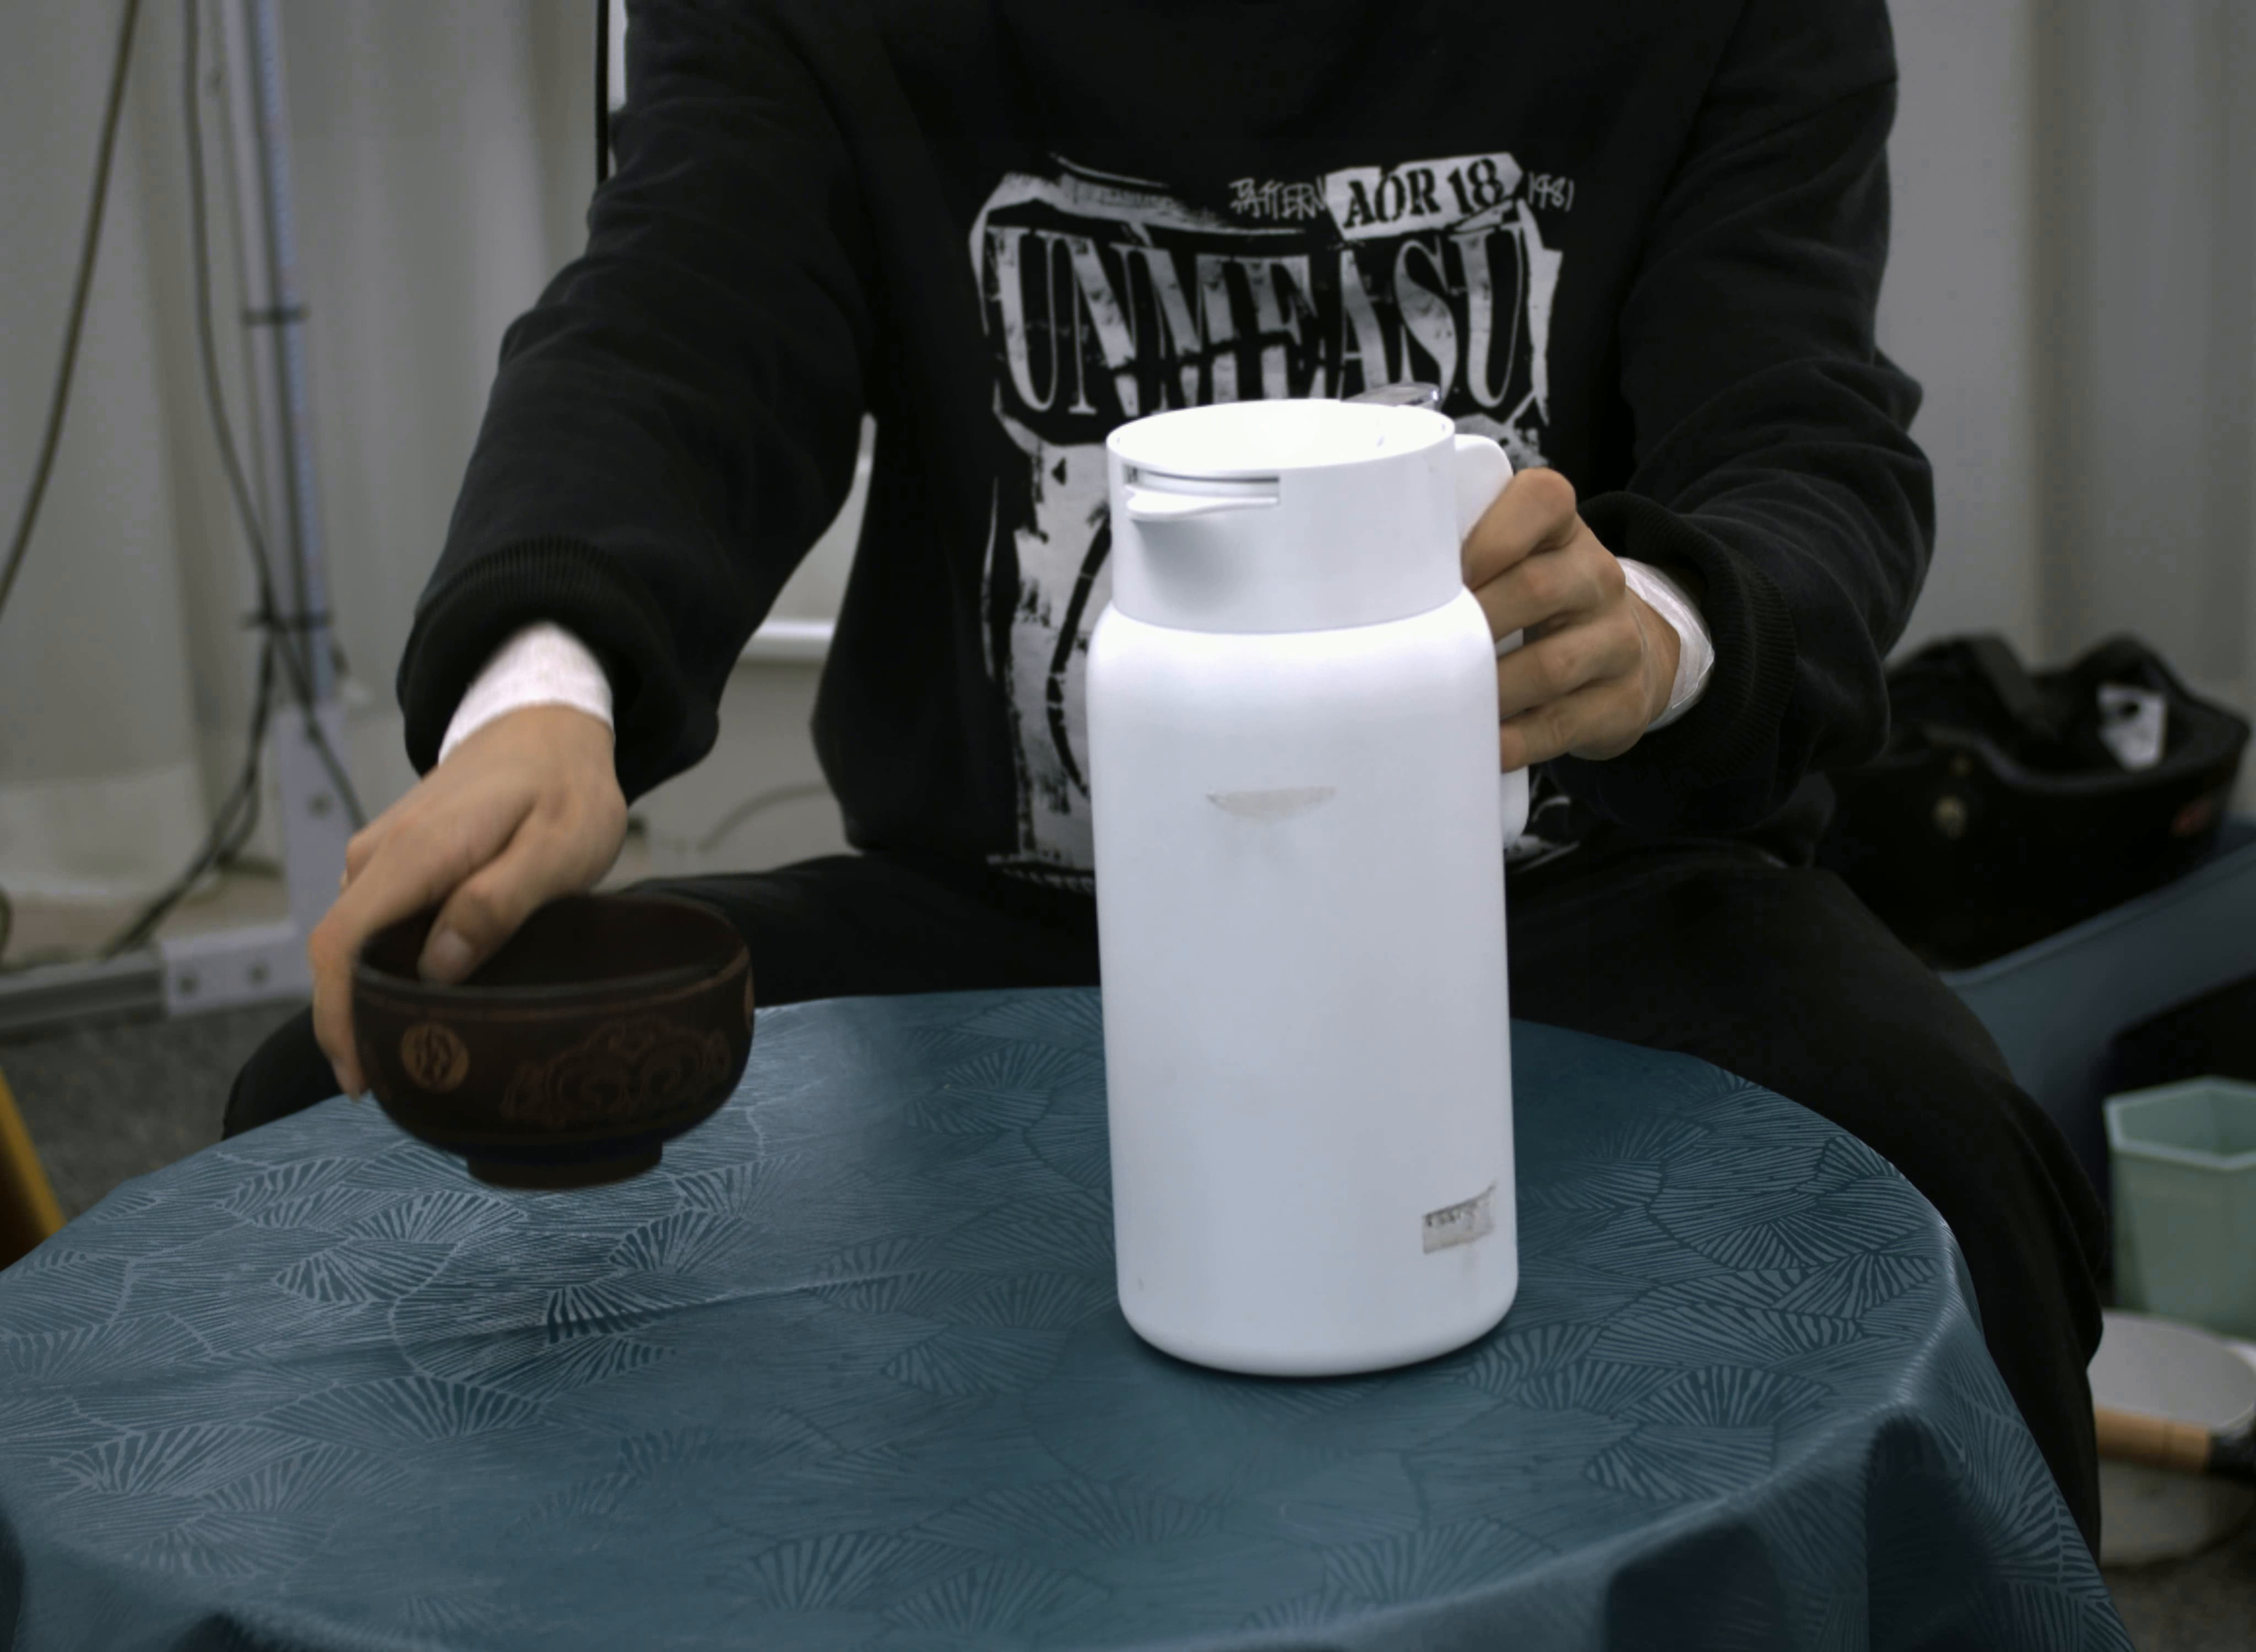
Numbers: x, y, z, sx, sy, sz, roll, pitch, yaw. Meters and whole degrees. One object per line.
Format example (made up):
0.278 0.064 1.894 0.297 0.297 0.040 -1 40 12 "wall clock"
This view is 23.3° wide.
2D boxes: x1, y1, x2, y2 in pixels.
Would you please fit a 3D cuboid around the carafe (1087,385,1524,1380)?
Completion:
0.058 0.012 1.577 0.124 0.268 0.173 4 15 34 "carafe"

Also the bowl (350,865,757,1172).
-0.166 0.060 1.599 0.117 0.069 0.119 -2 14 0 "bowl"
